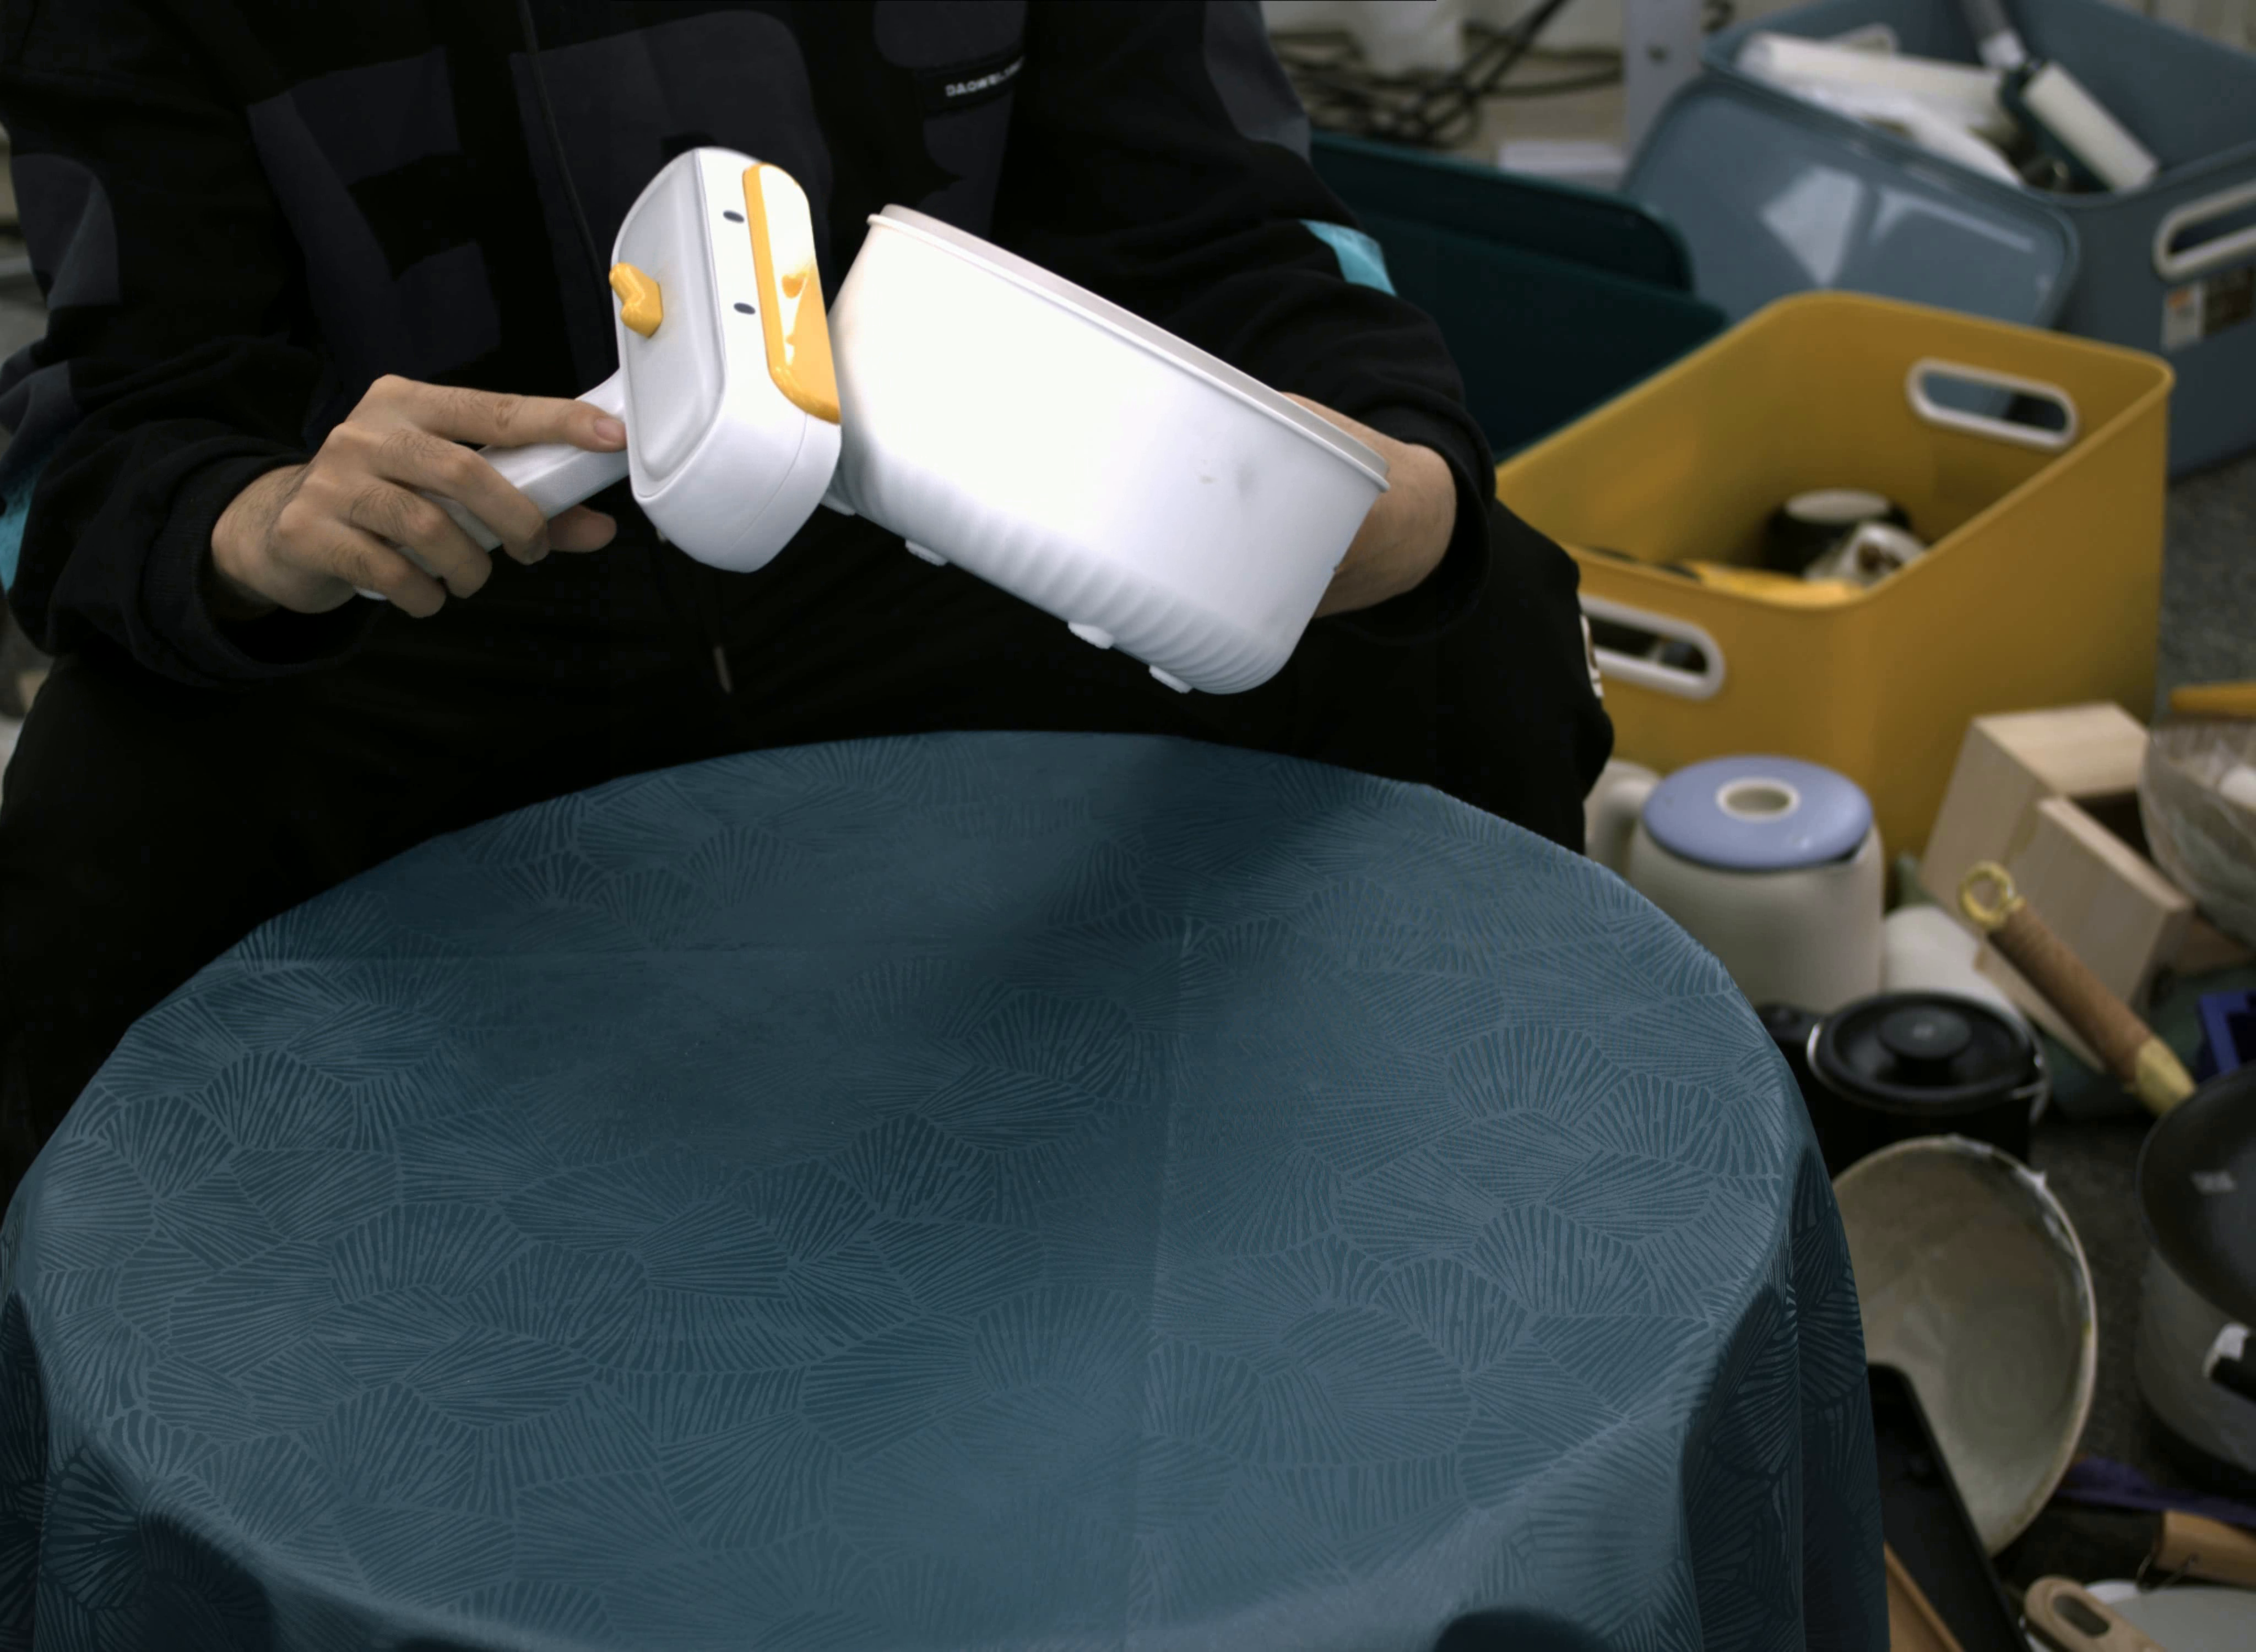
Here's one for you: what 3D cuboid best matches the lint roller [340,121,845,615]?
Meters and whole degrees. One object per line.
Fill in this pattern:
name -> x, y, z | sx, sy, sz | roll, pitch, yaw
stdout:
lint roller -> -0.183, -0.133, 1.907 | 0.190, 0.074, 0.196 | -41, 38, 17

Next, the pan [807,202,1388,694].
pan -> 0.000, -0.113, 1.997 | 0.201, 0.102, 0.354 | 27, 0, 17
